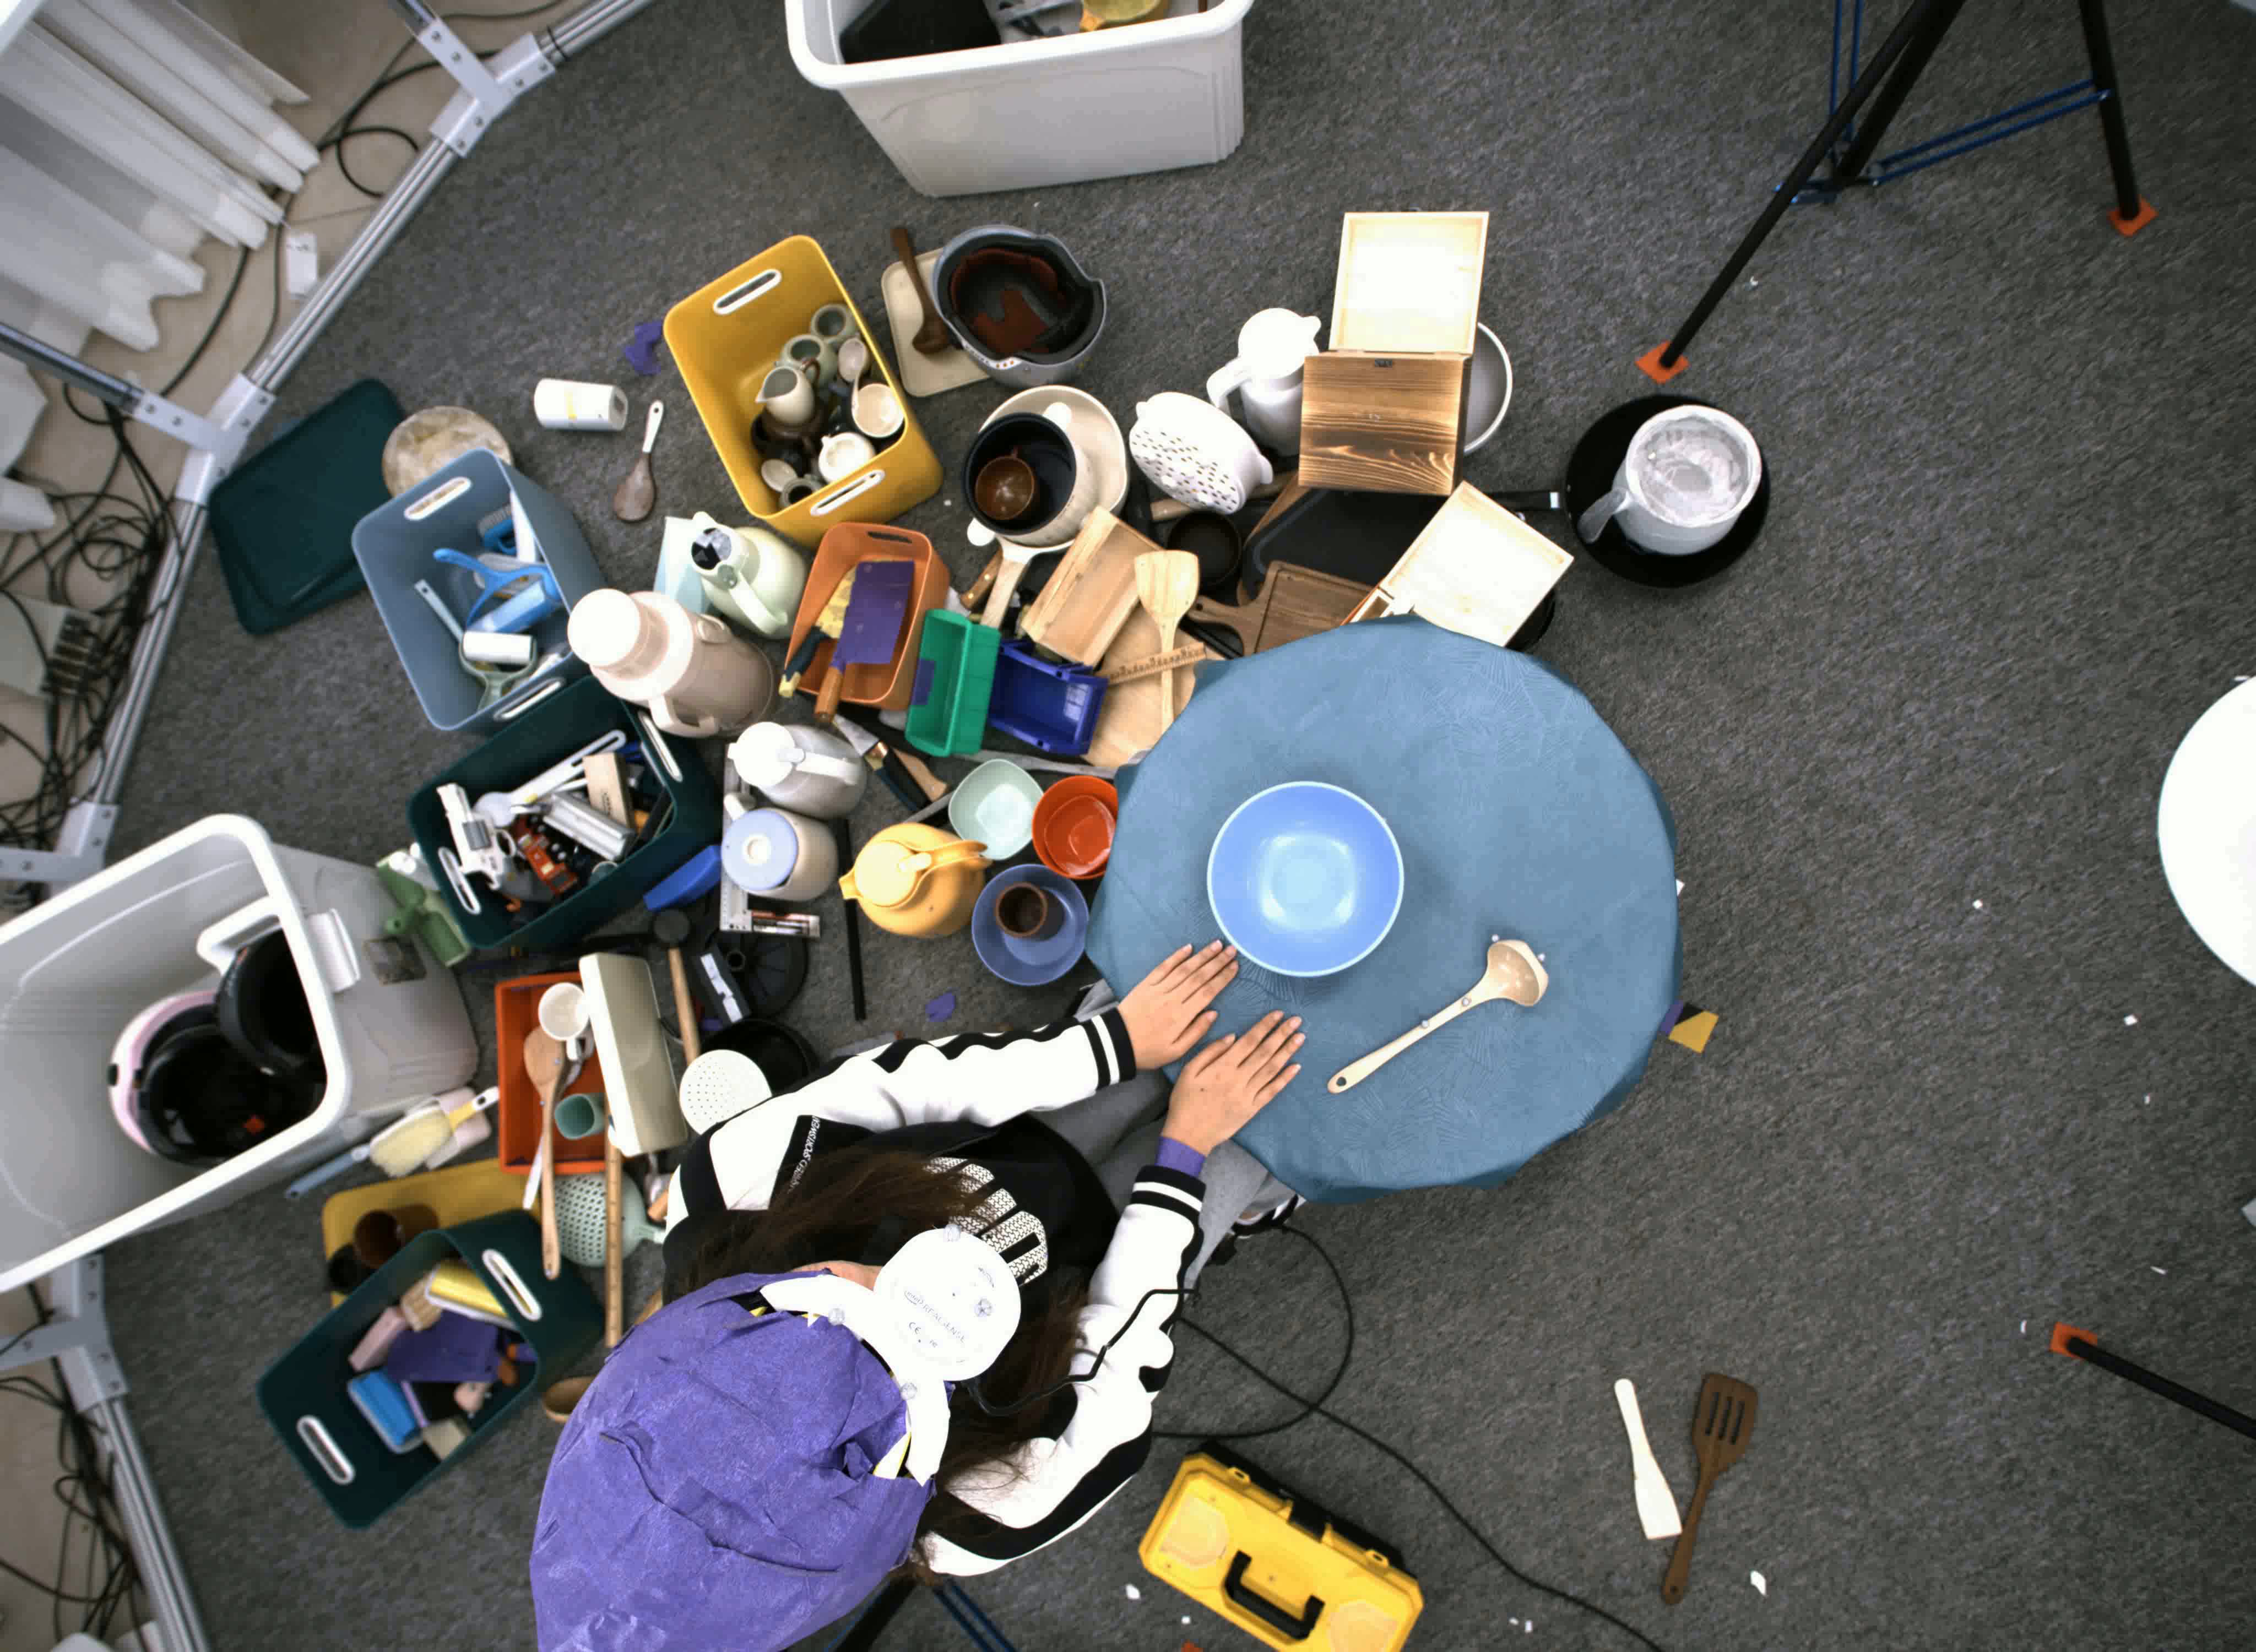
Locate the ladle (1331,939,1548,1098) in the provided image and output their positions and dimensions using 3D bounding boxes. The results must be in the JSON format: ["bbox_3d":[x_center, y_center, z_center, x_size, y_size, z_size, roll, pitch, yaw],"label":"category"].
[{"bbox_3d":[0.312,0.204,1.408,0.256,0.073,0.071,-35,79,7],"label":"ladle"}]

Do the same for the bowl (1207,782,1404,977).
[{"bbox_3d":[0.184,0.056,1.432,0.197,0.095,0.196,-1,87,9],"label":"bowl"}]
